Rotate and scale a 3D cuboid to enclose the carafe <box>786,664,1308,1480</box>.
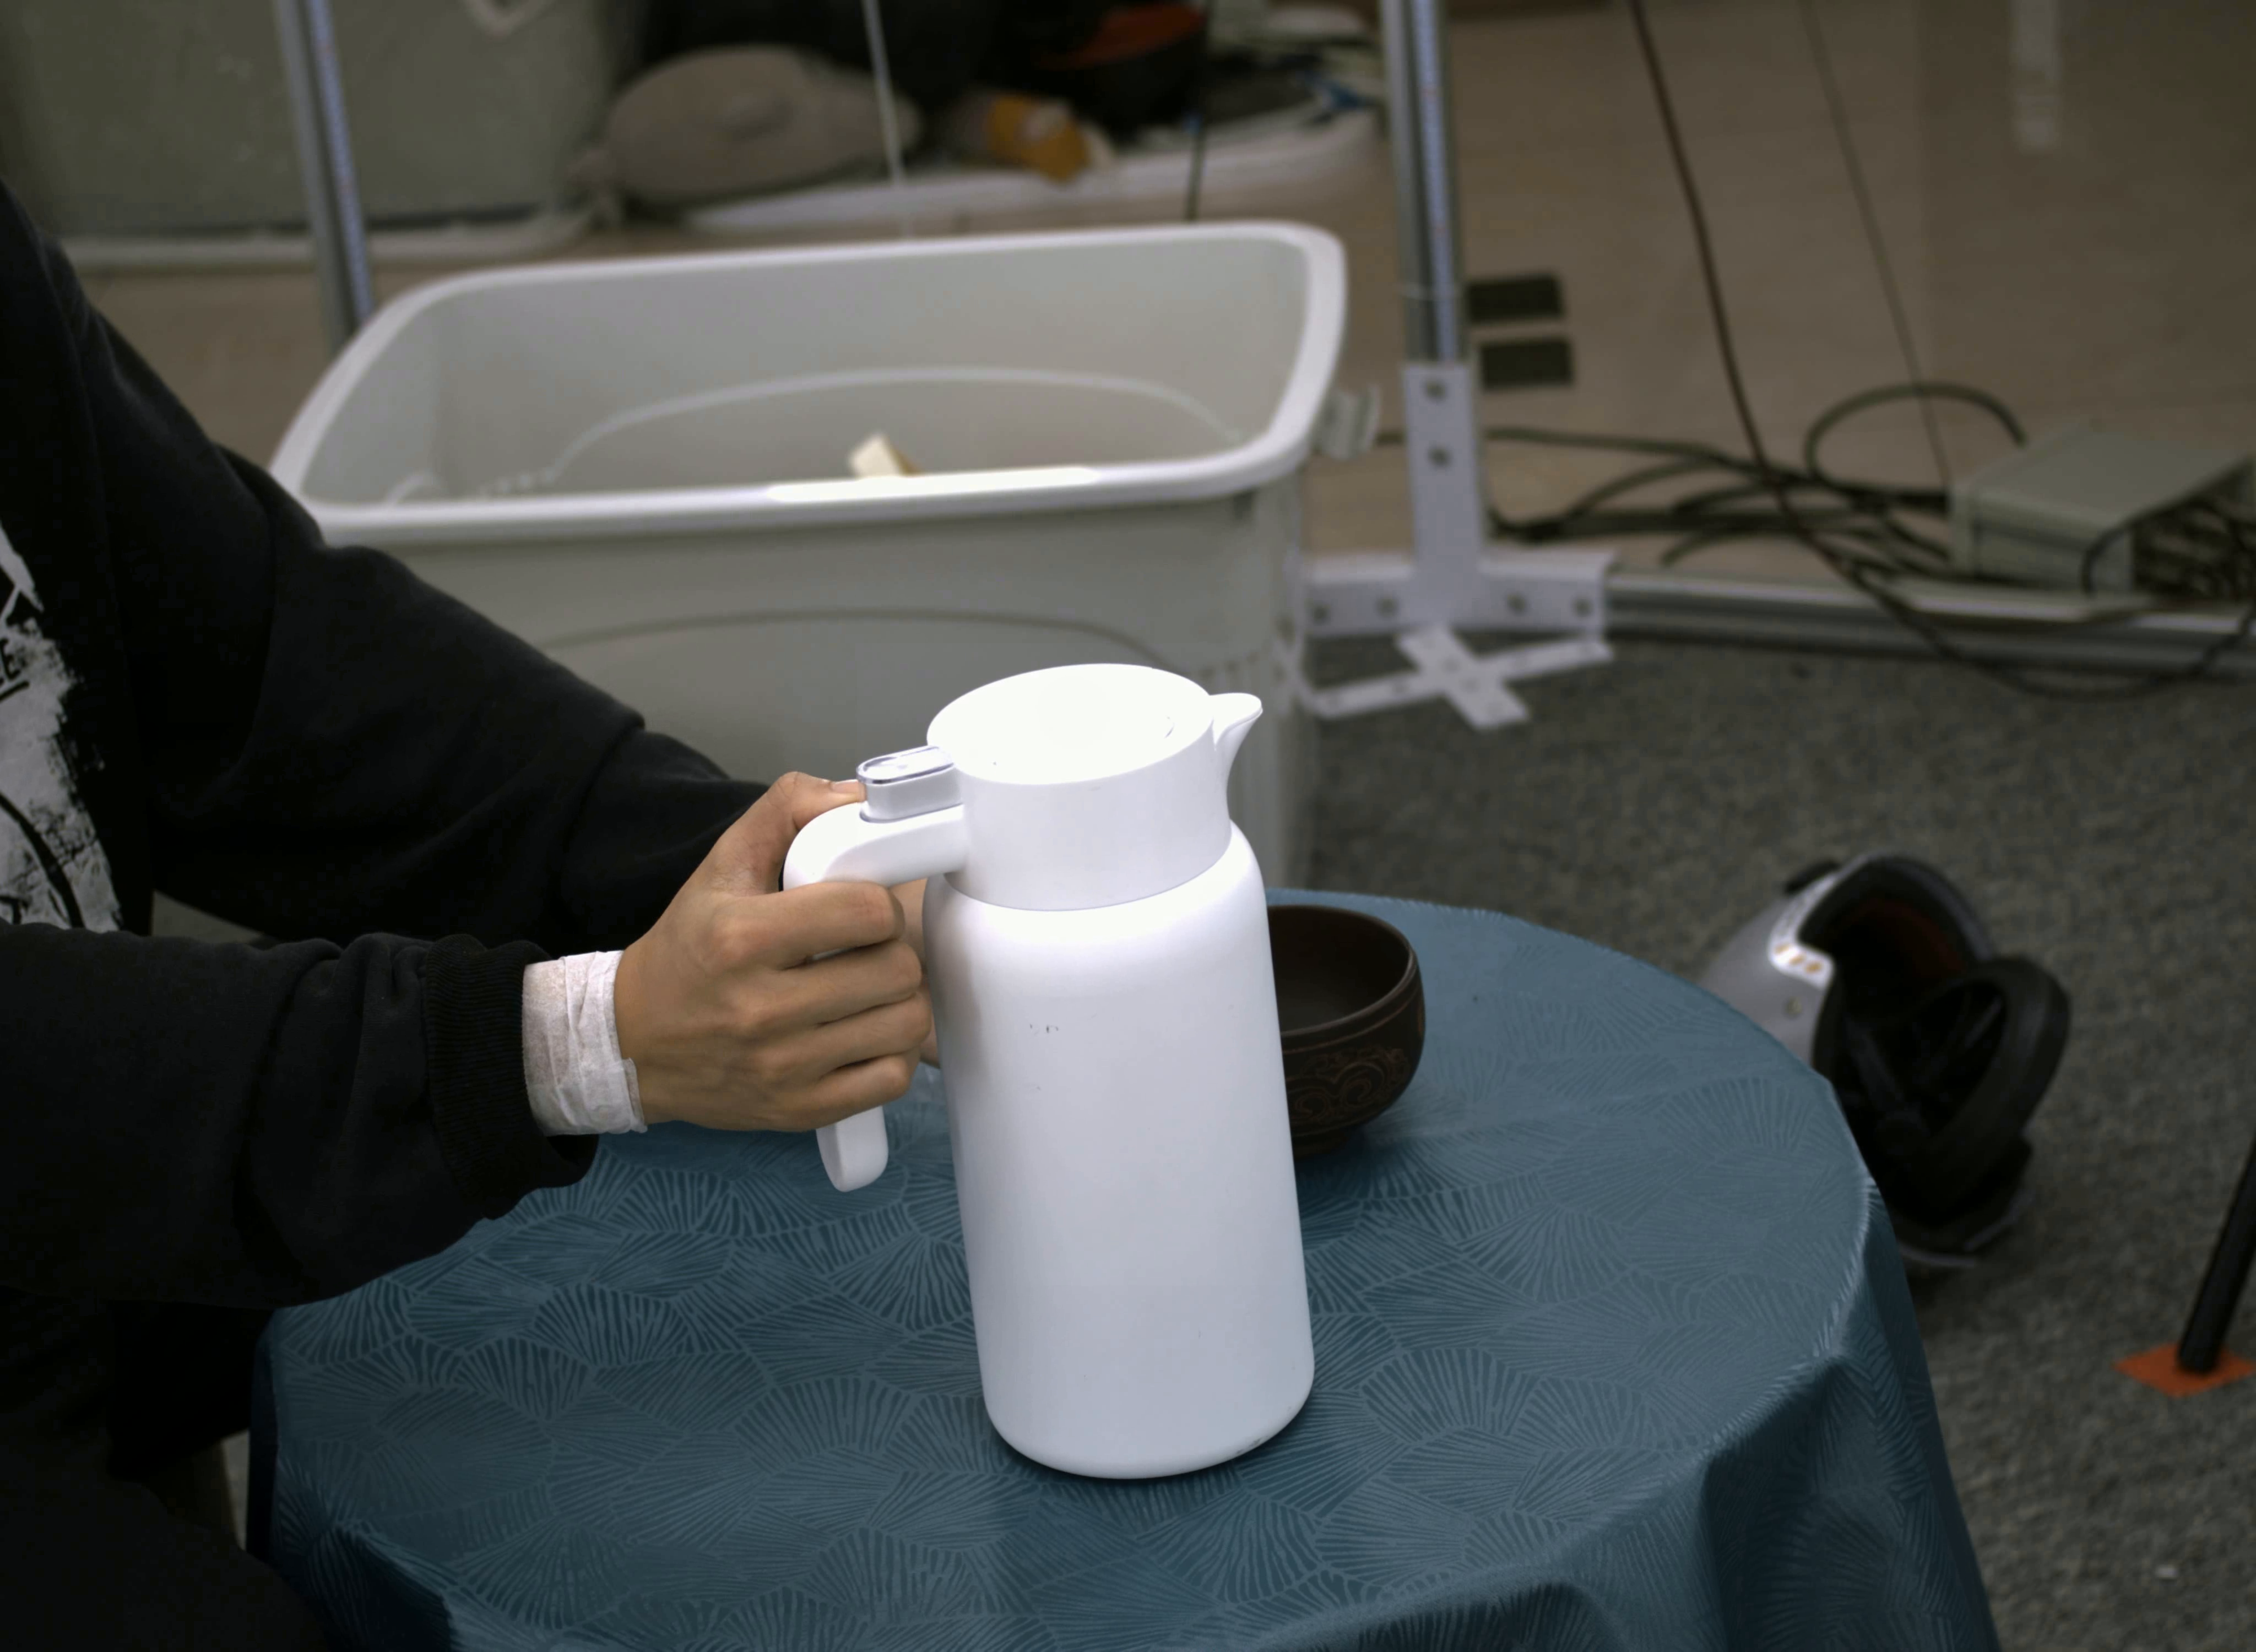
[{"bbox_3d":[-0.022,0.089,1.942,0.172,0.273,0.122,-15,29,-18],"label":"carafe"}]

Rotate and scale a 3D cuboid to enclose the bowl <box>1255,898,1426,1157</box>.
[{"bbox_3d":[0.056,0.083,2.167,0.118,0.071,0.116,-6,26,3],"label":"bowl"}]
